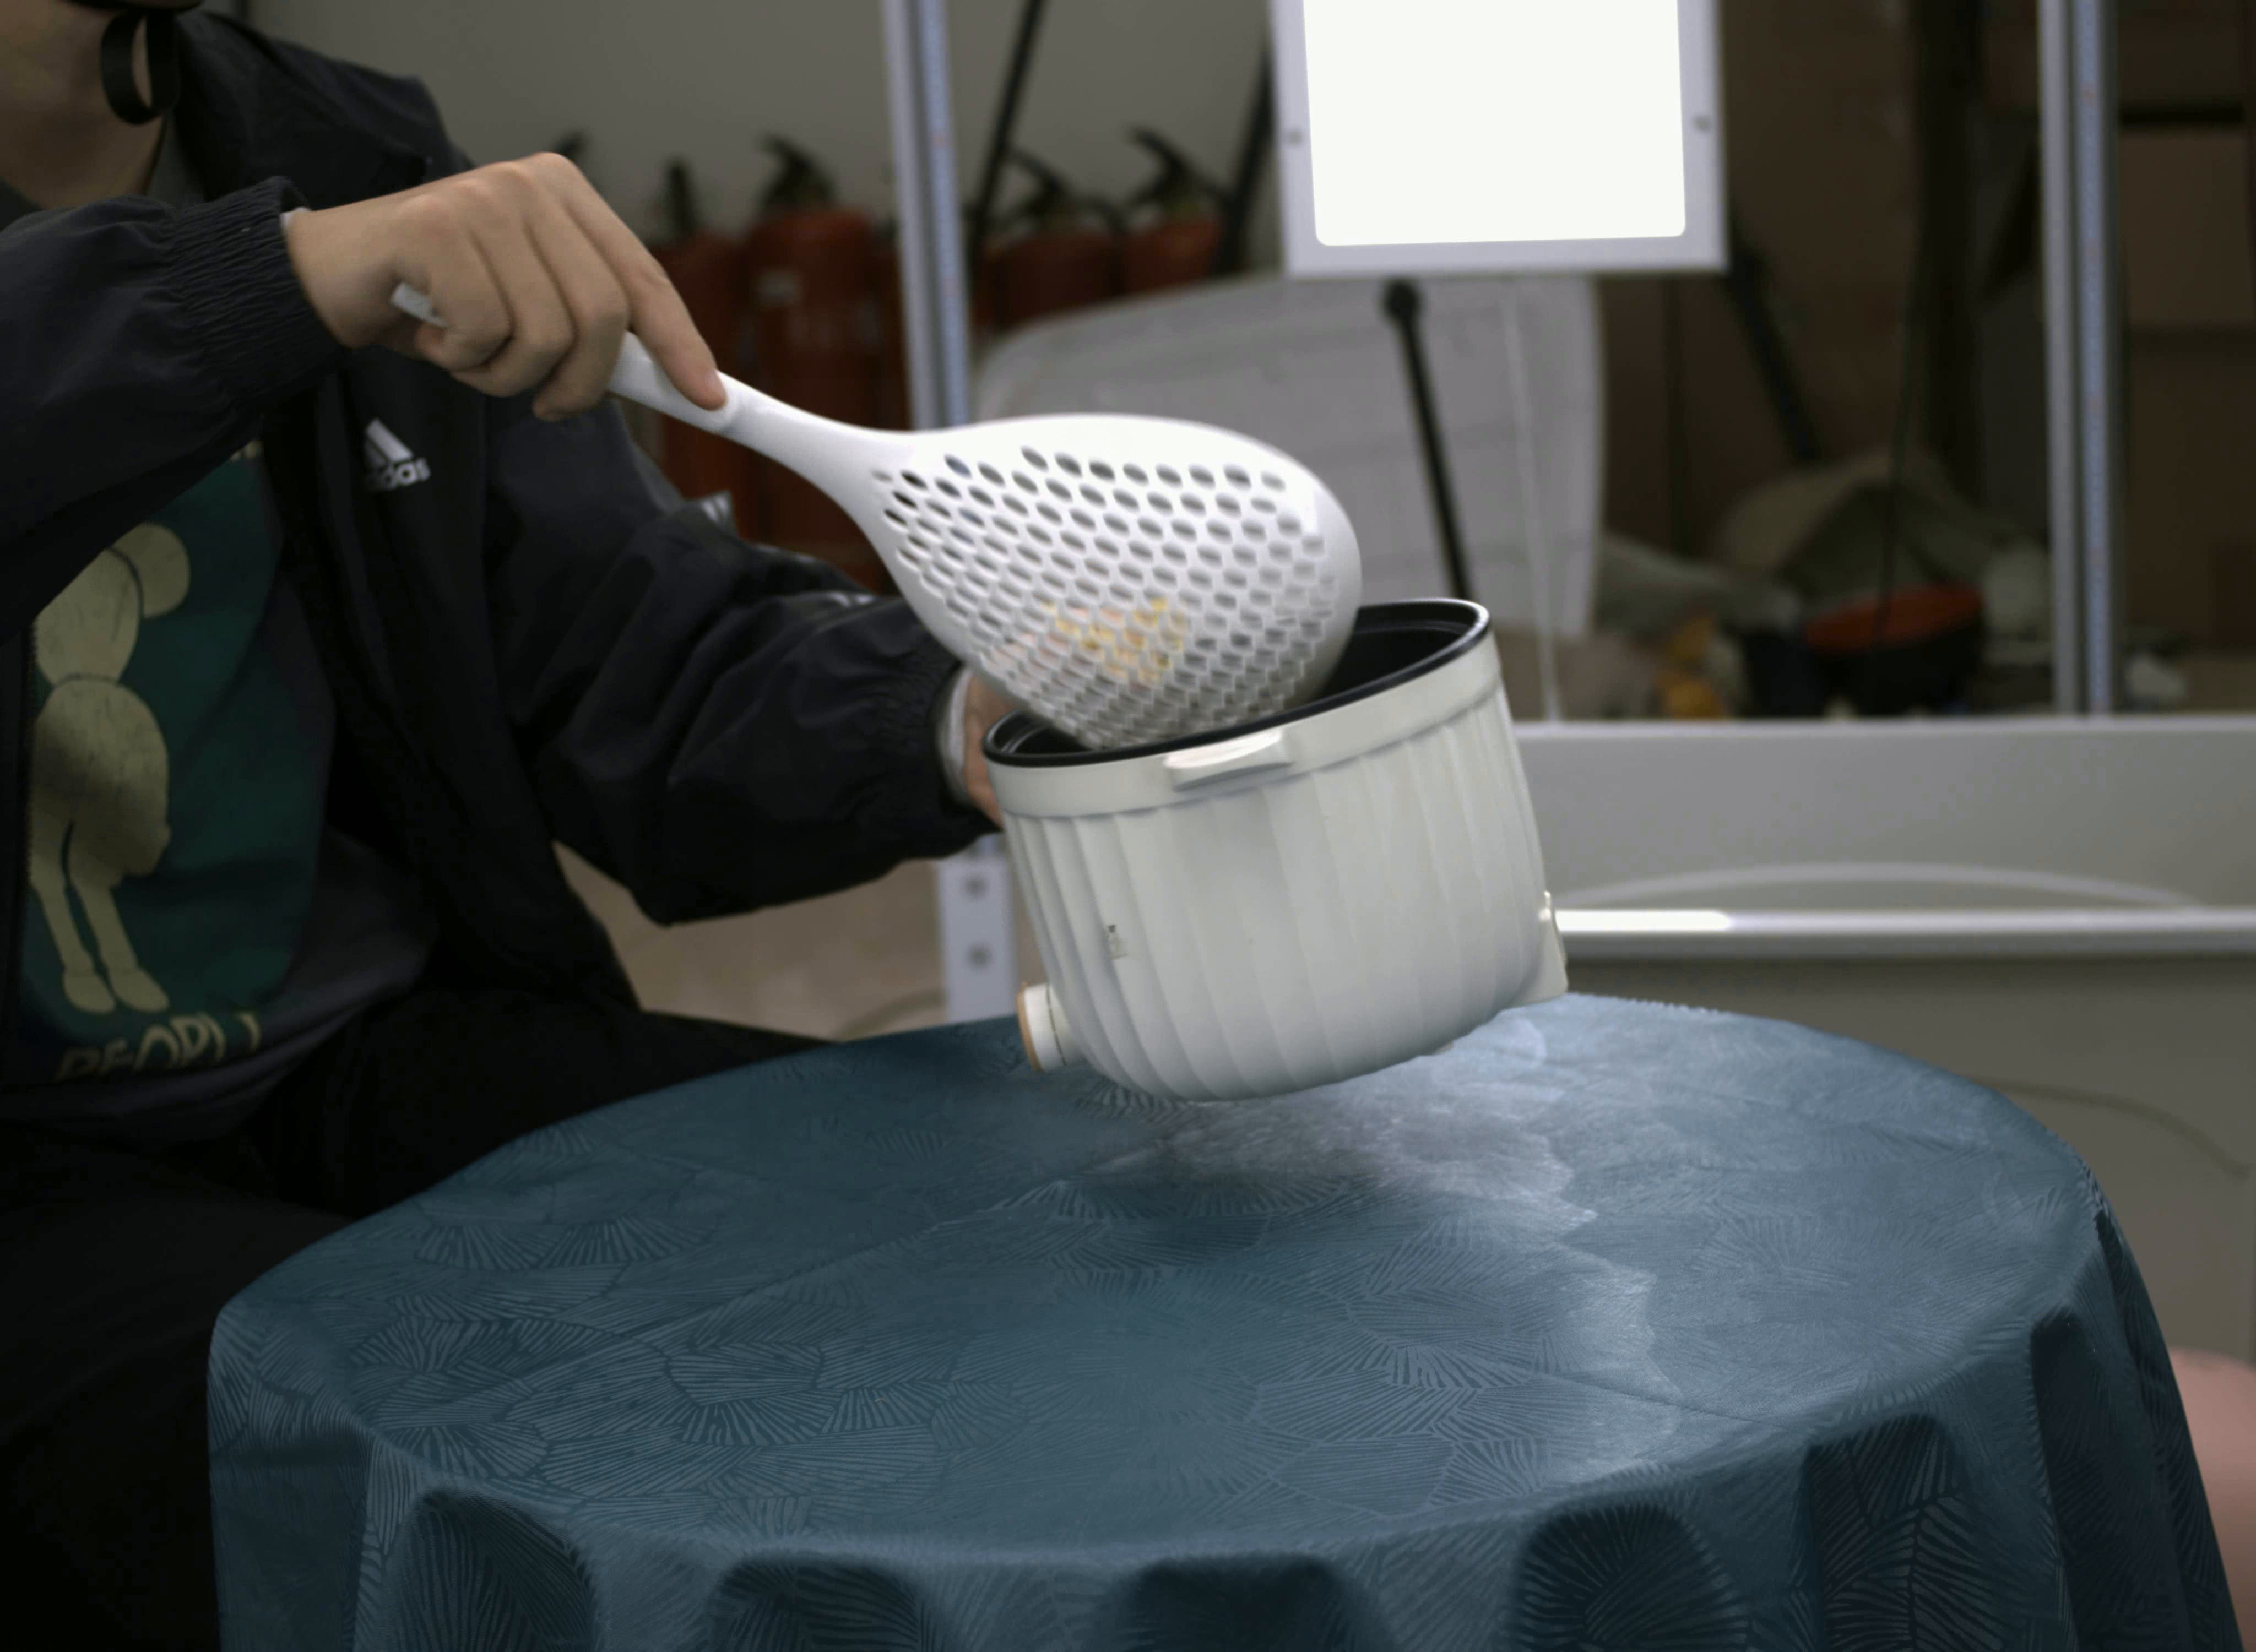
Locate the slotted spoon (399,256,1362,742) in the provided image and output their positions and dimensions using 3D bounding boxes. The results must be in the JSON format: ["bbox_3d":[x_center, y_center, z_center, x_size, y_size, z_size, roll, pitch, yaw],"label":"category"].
[{"bbox_3d":[-0.085,-0.113,1.854,0.345,0.139,0.050,26,30,-9],"label":"slotted spoon"}]

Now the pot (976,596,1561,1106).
[{"bbox_3d":[0.046,0.012,1.897,0.191,0.143,0.239,-11,11,7],"label":"pot"}]
